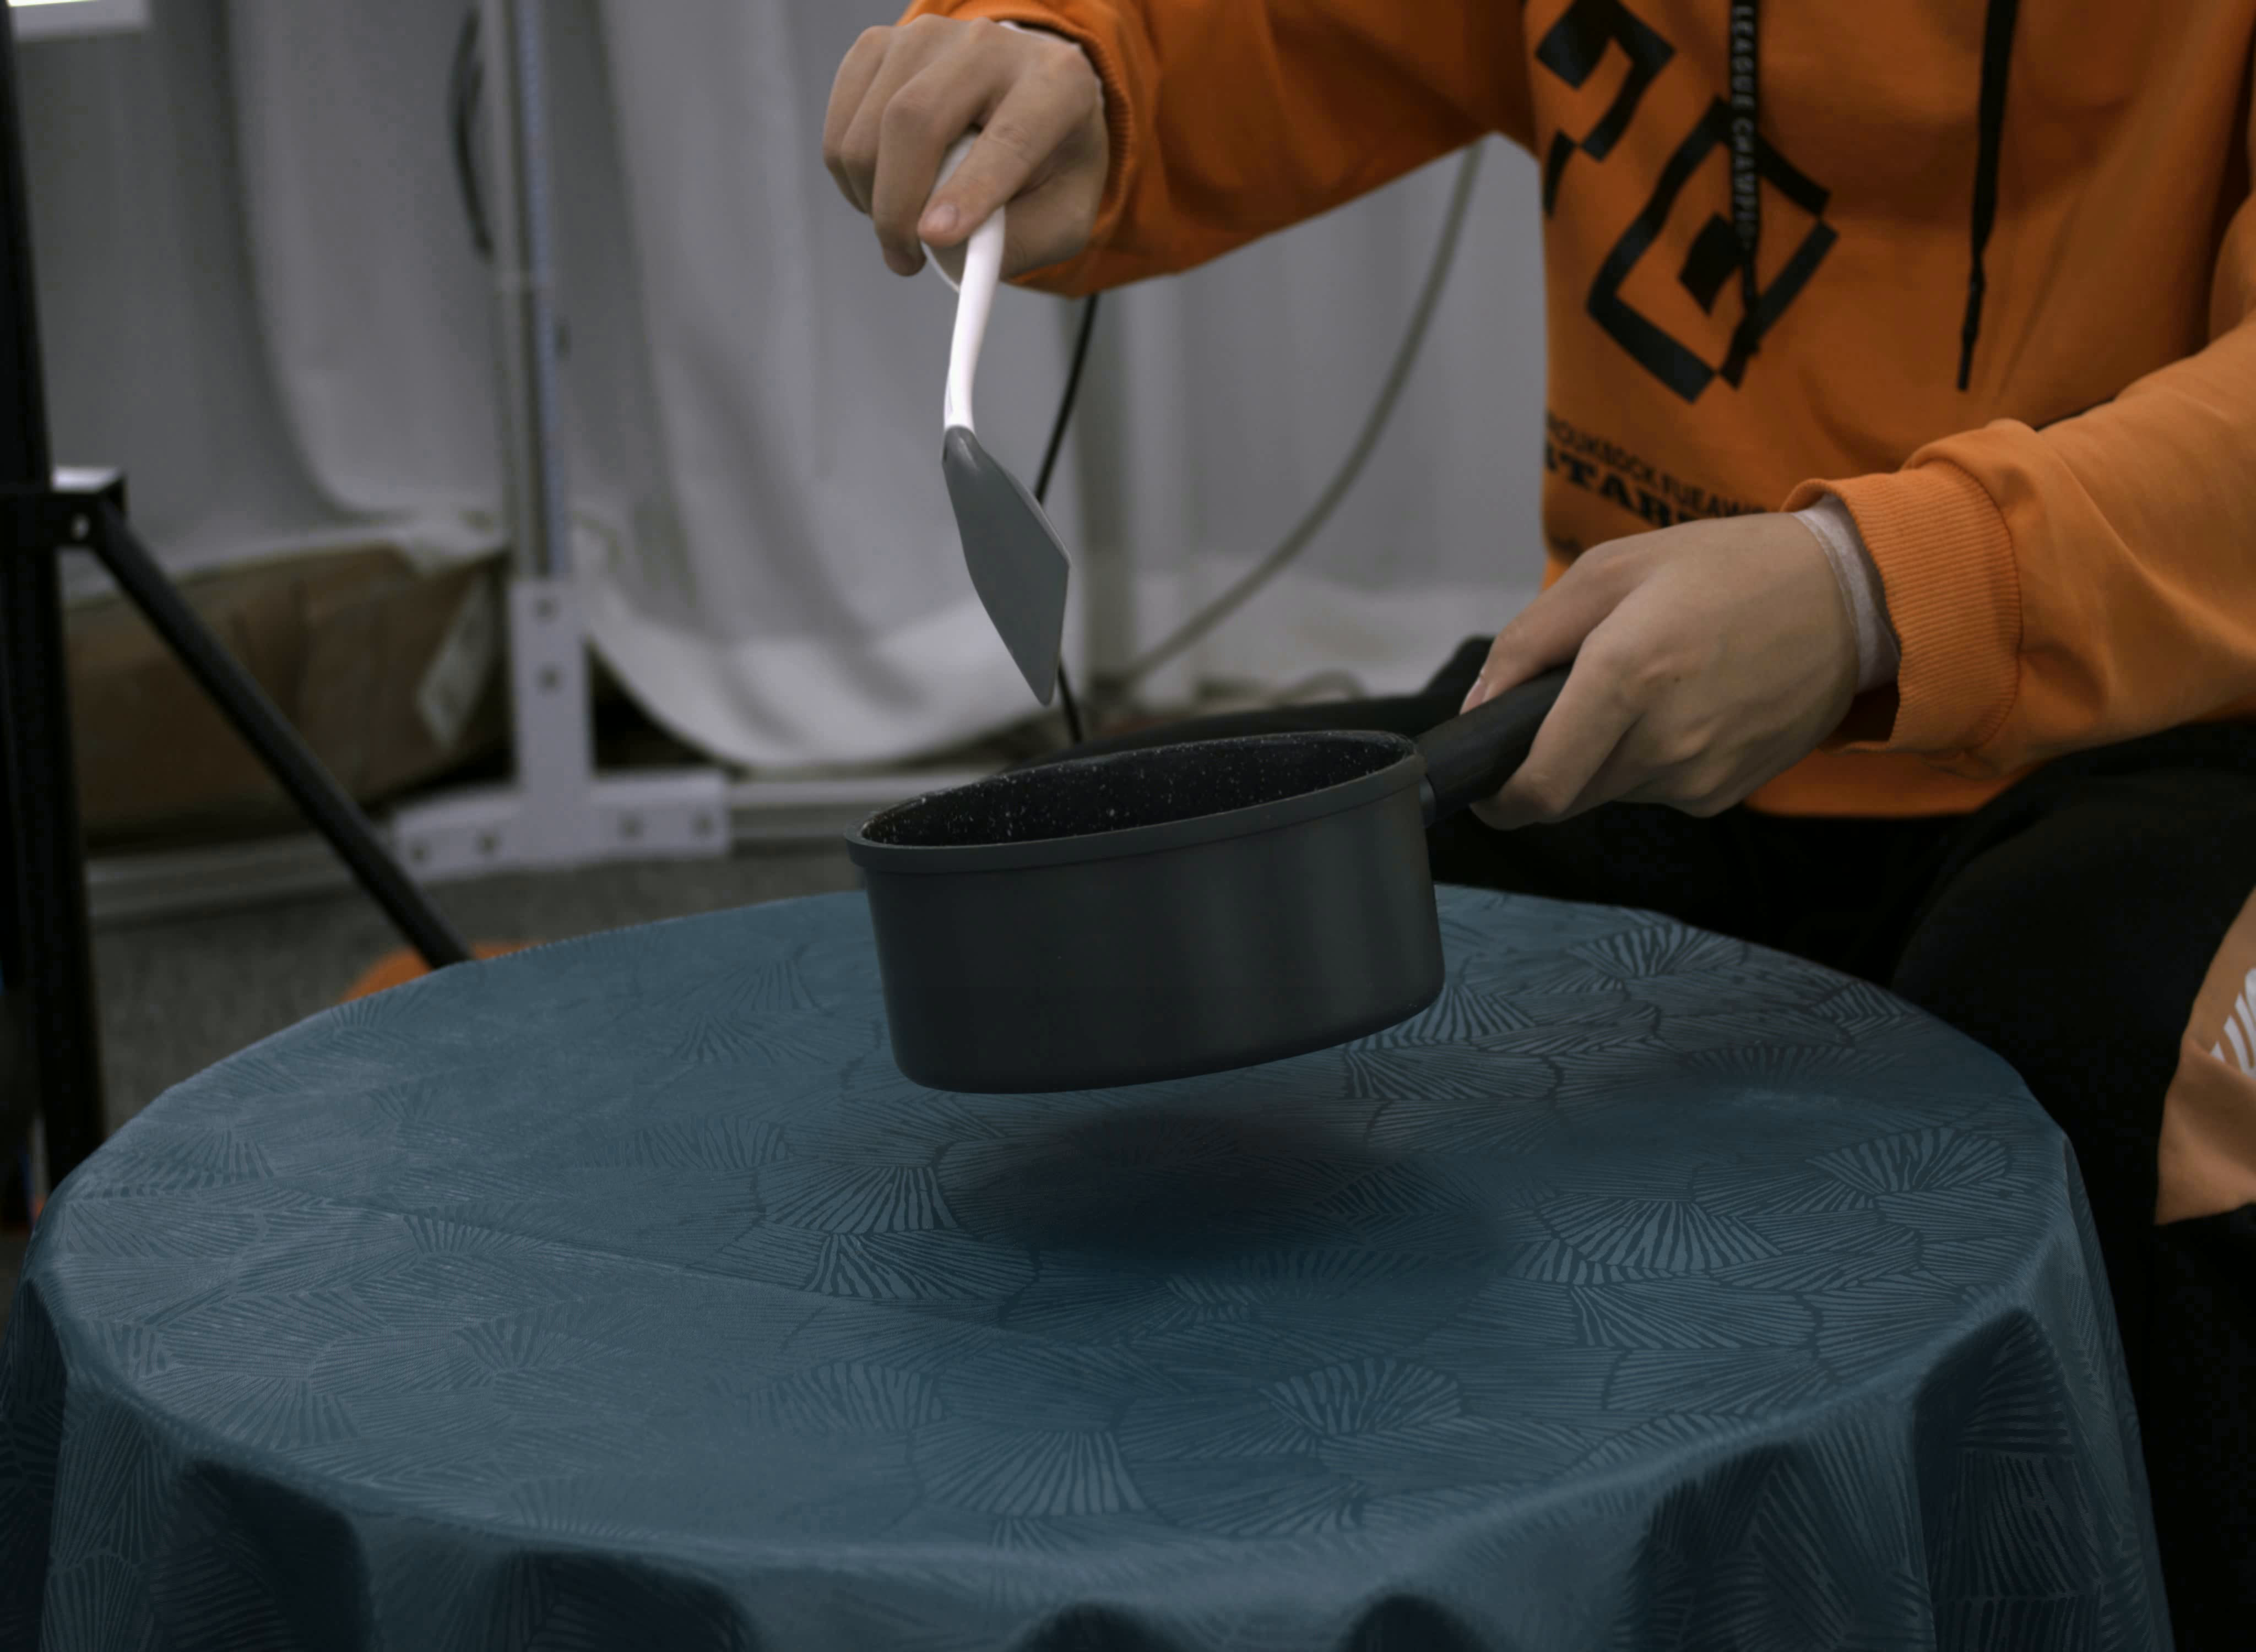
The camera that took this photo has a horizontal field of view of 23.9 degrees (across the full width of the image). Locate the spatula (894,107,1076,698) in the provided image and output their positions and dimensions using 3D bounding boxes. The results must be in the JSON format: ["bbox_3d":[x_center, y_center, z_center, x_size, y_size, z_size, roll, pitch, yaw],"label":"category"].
[{"bbox_3d":[-0.043,-0.136,1.602,0.032,0.058,0.291,5,33,-11],"label":"spatula"}]

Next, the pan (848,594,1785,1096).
[{"bbox_3d":[0.071,0.006,1.585,0.321,0.086,0.175,-16,11,-33],"label":"pan"}]
